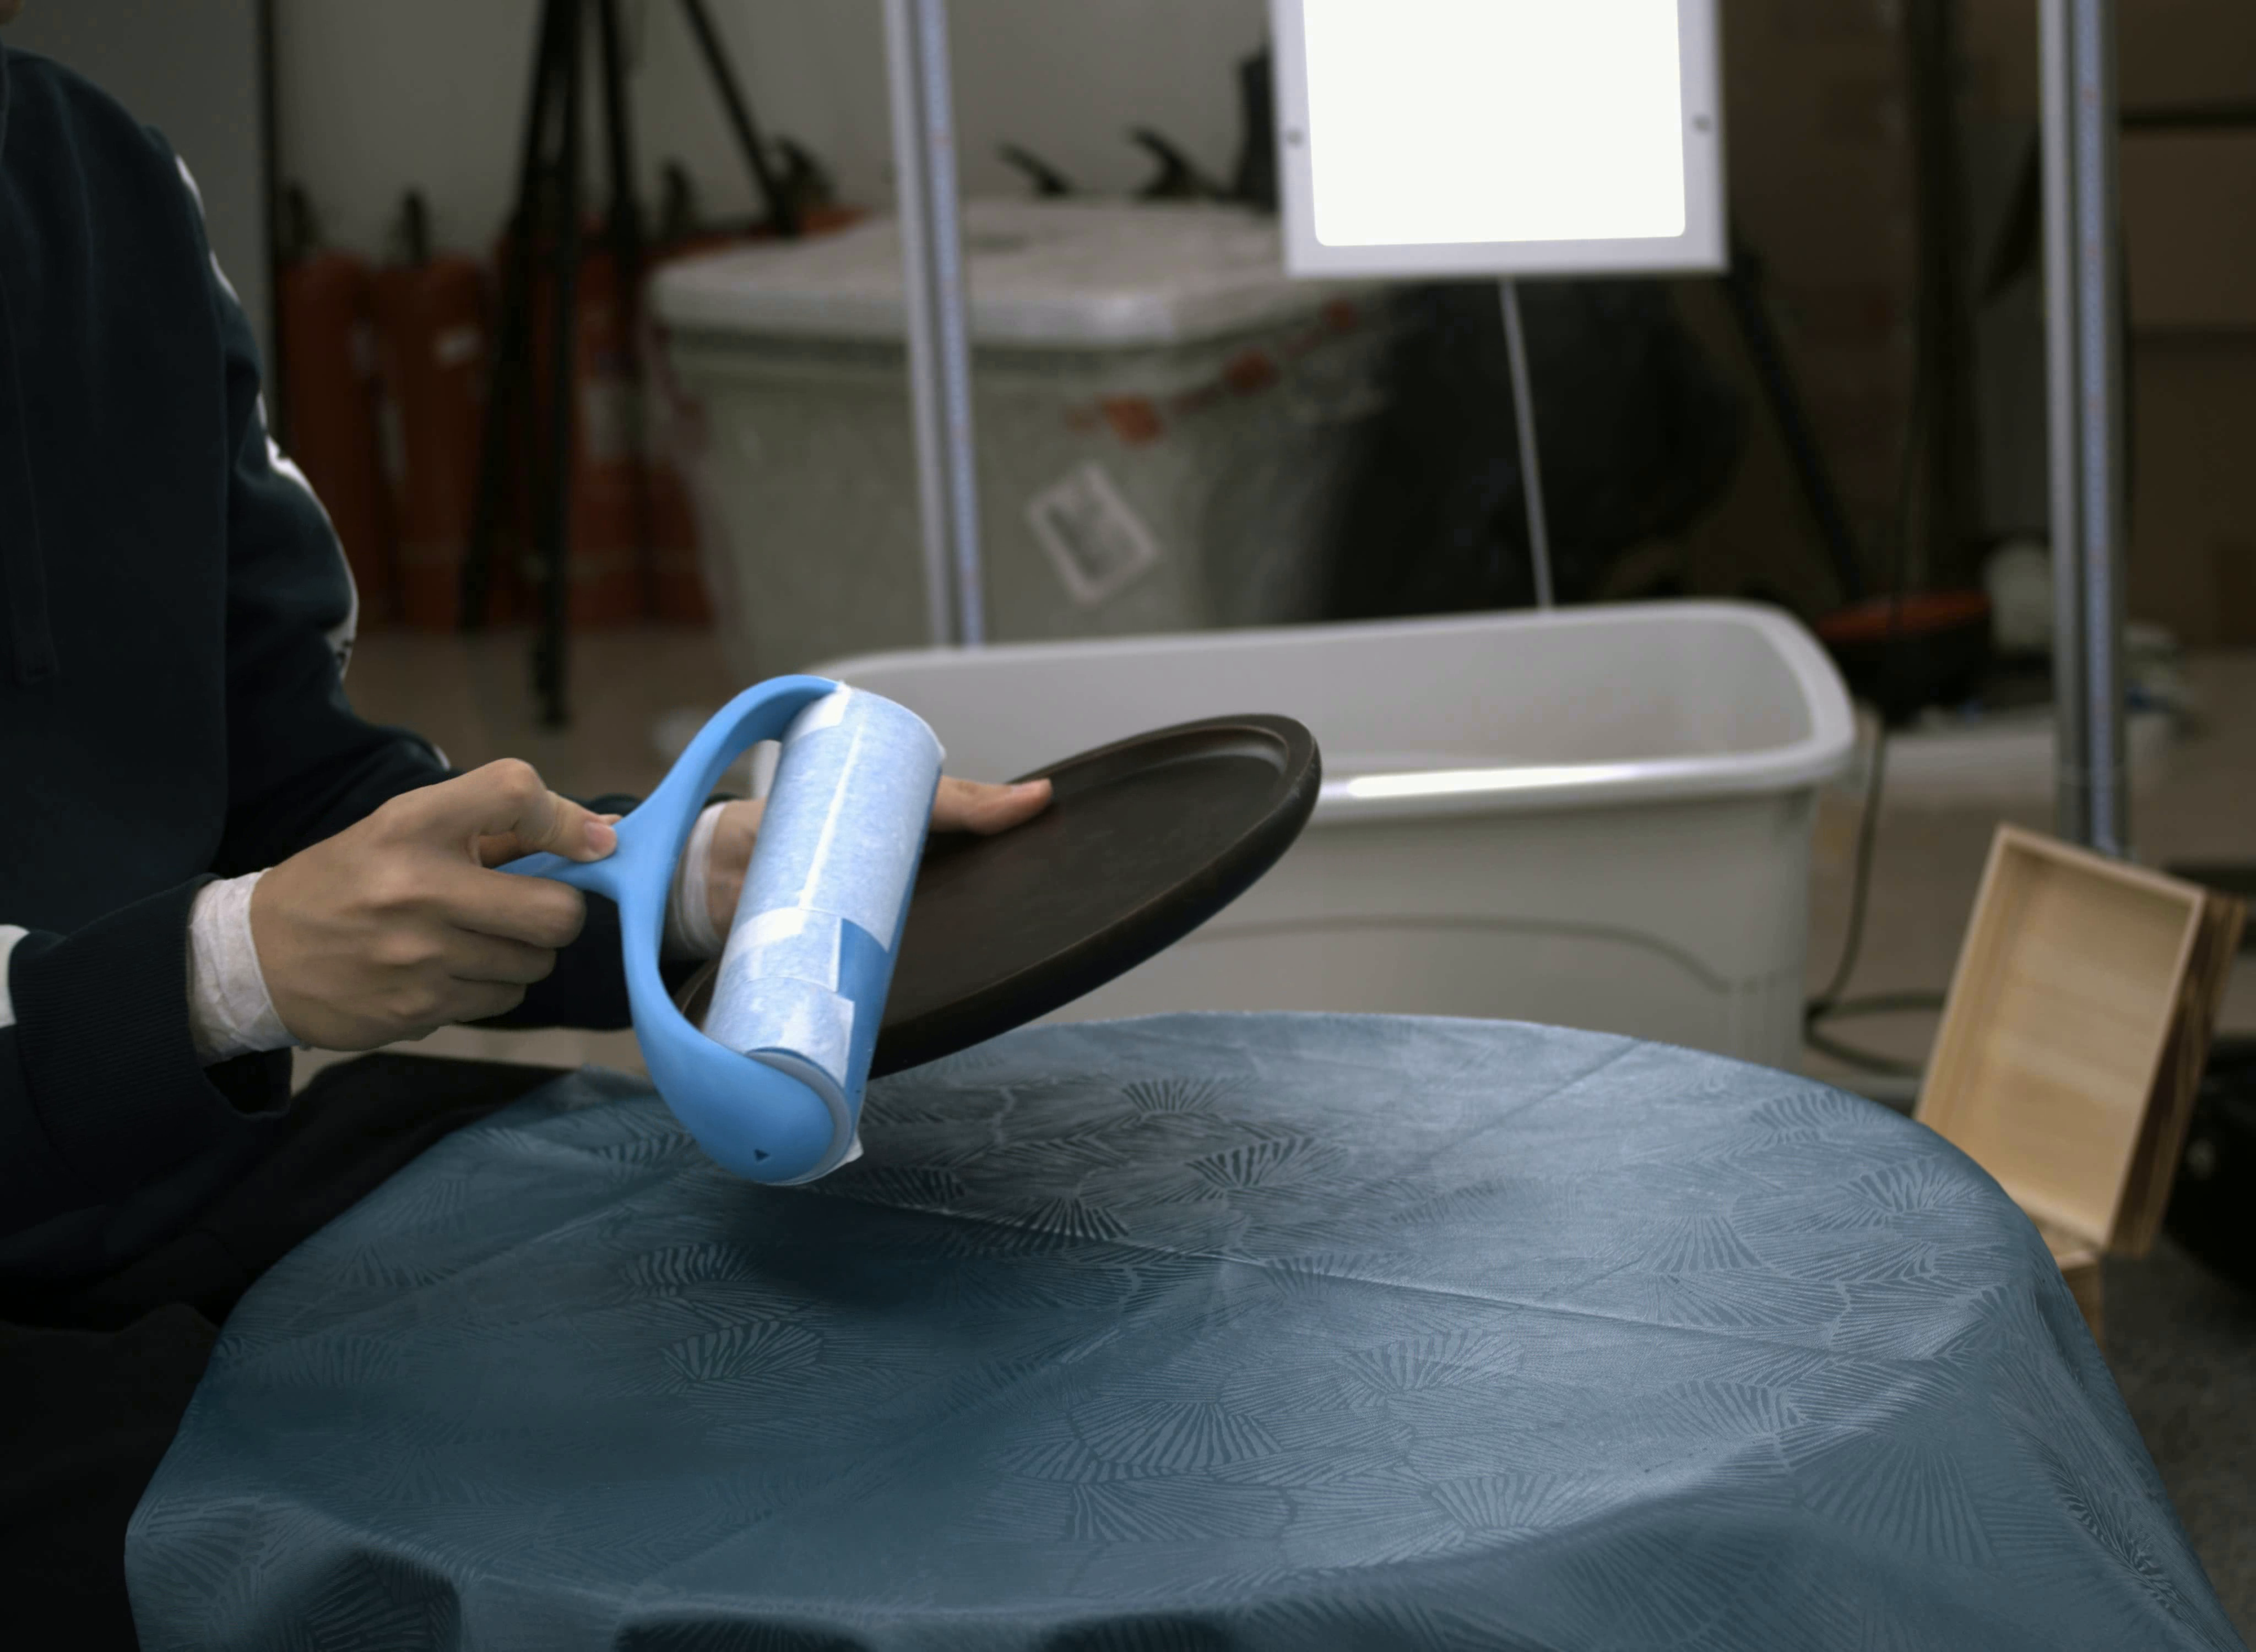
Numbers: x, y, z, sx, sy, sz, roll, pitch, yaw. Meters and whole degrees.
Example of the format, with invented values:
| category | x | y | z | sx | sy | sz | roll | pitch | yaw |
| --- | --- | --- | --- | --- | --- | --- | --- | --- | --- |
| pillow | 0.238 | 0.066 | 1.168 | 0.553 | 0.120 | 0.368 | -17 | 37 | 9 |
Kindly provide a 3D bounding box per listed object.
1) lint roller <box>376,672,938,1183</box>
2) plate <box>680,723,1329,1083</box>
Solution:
| category | x | y | z | sx | sy | sz | roll | pitch | yaw |
| --- | --- | --- | --- | --- | --- | --- | --- | --- | --- |
| lint roller | -0.158 | 0.033 | 1.764 | 0.181 | 0.068 | 0.227 | -3 | 38 | 7 |
| plate | -0.044 | 0.030 | 1.909 | 0.255 | 0.029 | 0.254 | -23 | 14 | 4 |
